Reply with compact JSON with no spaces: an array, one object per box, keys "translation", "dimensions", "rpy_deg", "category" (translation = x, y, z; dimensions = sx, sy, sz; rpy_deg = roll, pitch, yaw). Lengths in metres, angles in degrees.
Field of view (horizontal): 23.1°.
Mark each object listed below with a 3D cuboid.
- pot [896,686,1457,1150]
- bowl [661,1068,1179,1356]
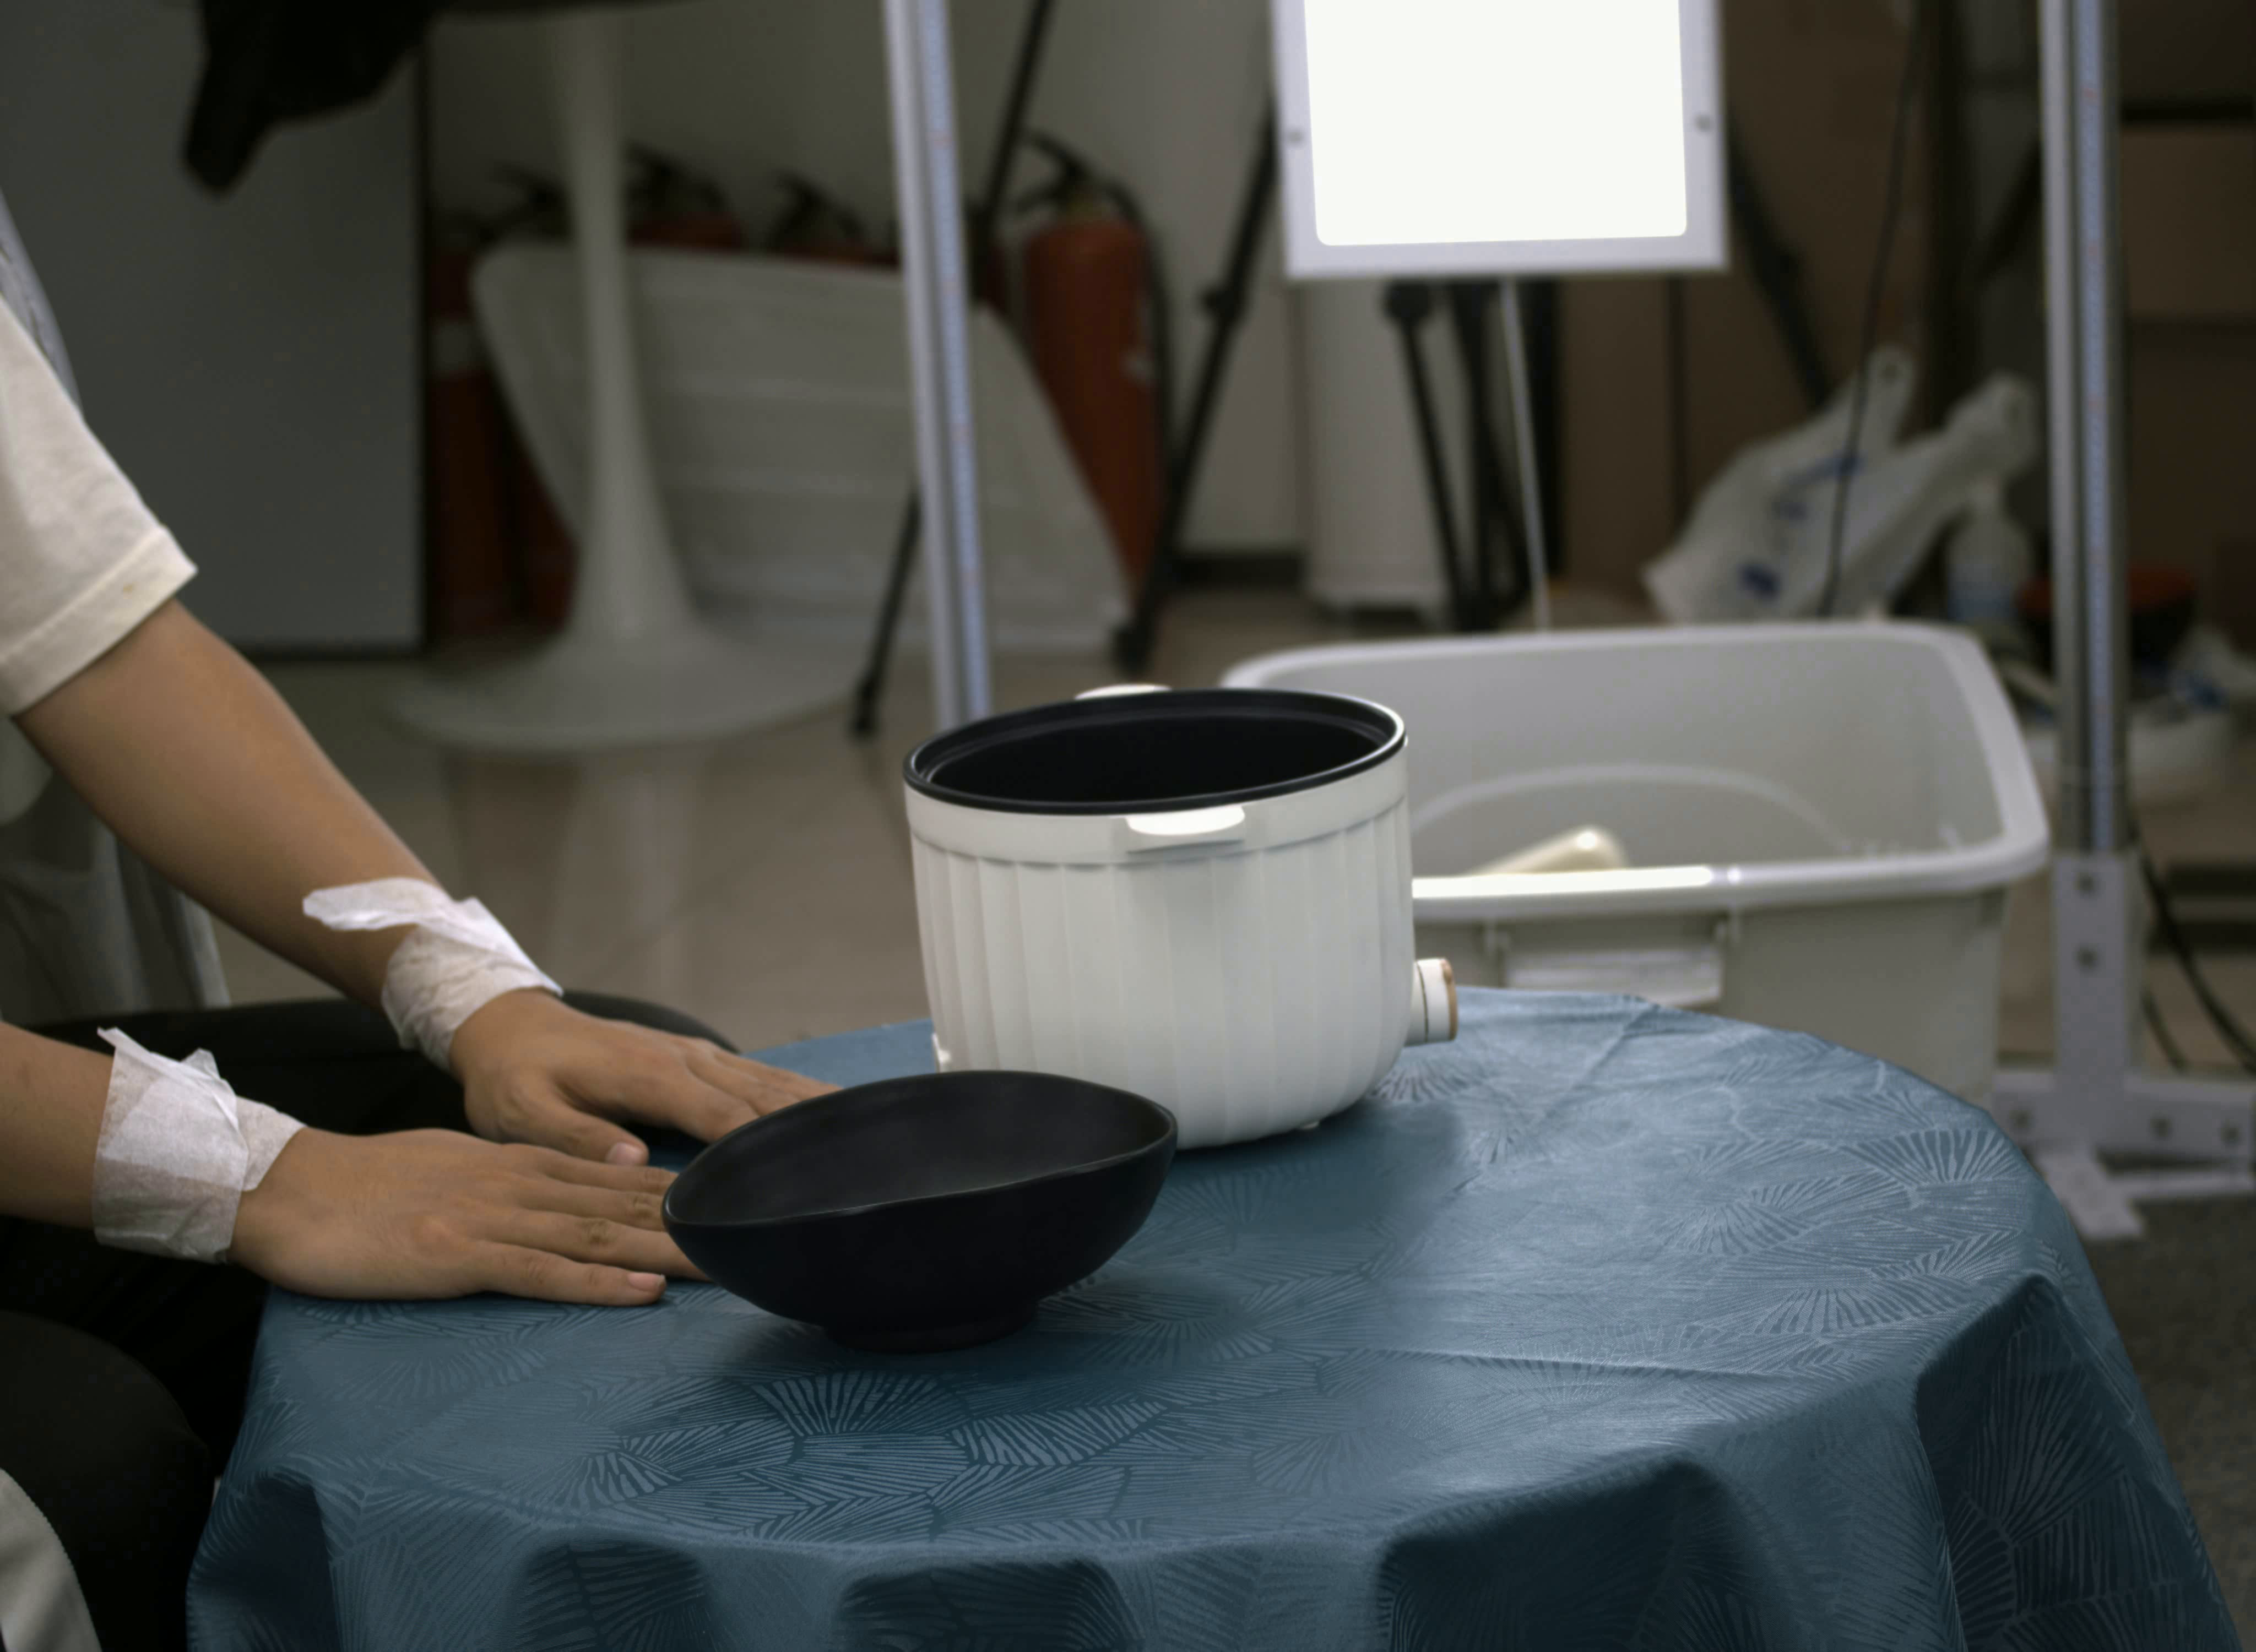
[{"translation":[0.019,0.034,1.978],"dimensions":[0.189,0.143,0.241],"rpy_deg":[-9,14,-4],"category":"pot"},{"translation":[-0.064,0.129,1.773],"dimensions":[0.168,0.067,0.139],"rpy_deg":[-9,13,-13],"category":"bowl"}]
